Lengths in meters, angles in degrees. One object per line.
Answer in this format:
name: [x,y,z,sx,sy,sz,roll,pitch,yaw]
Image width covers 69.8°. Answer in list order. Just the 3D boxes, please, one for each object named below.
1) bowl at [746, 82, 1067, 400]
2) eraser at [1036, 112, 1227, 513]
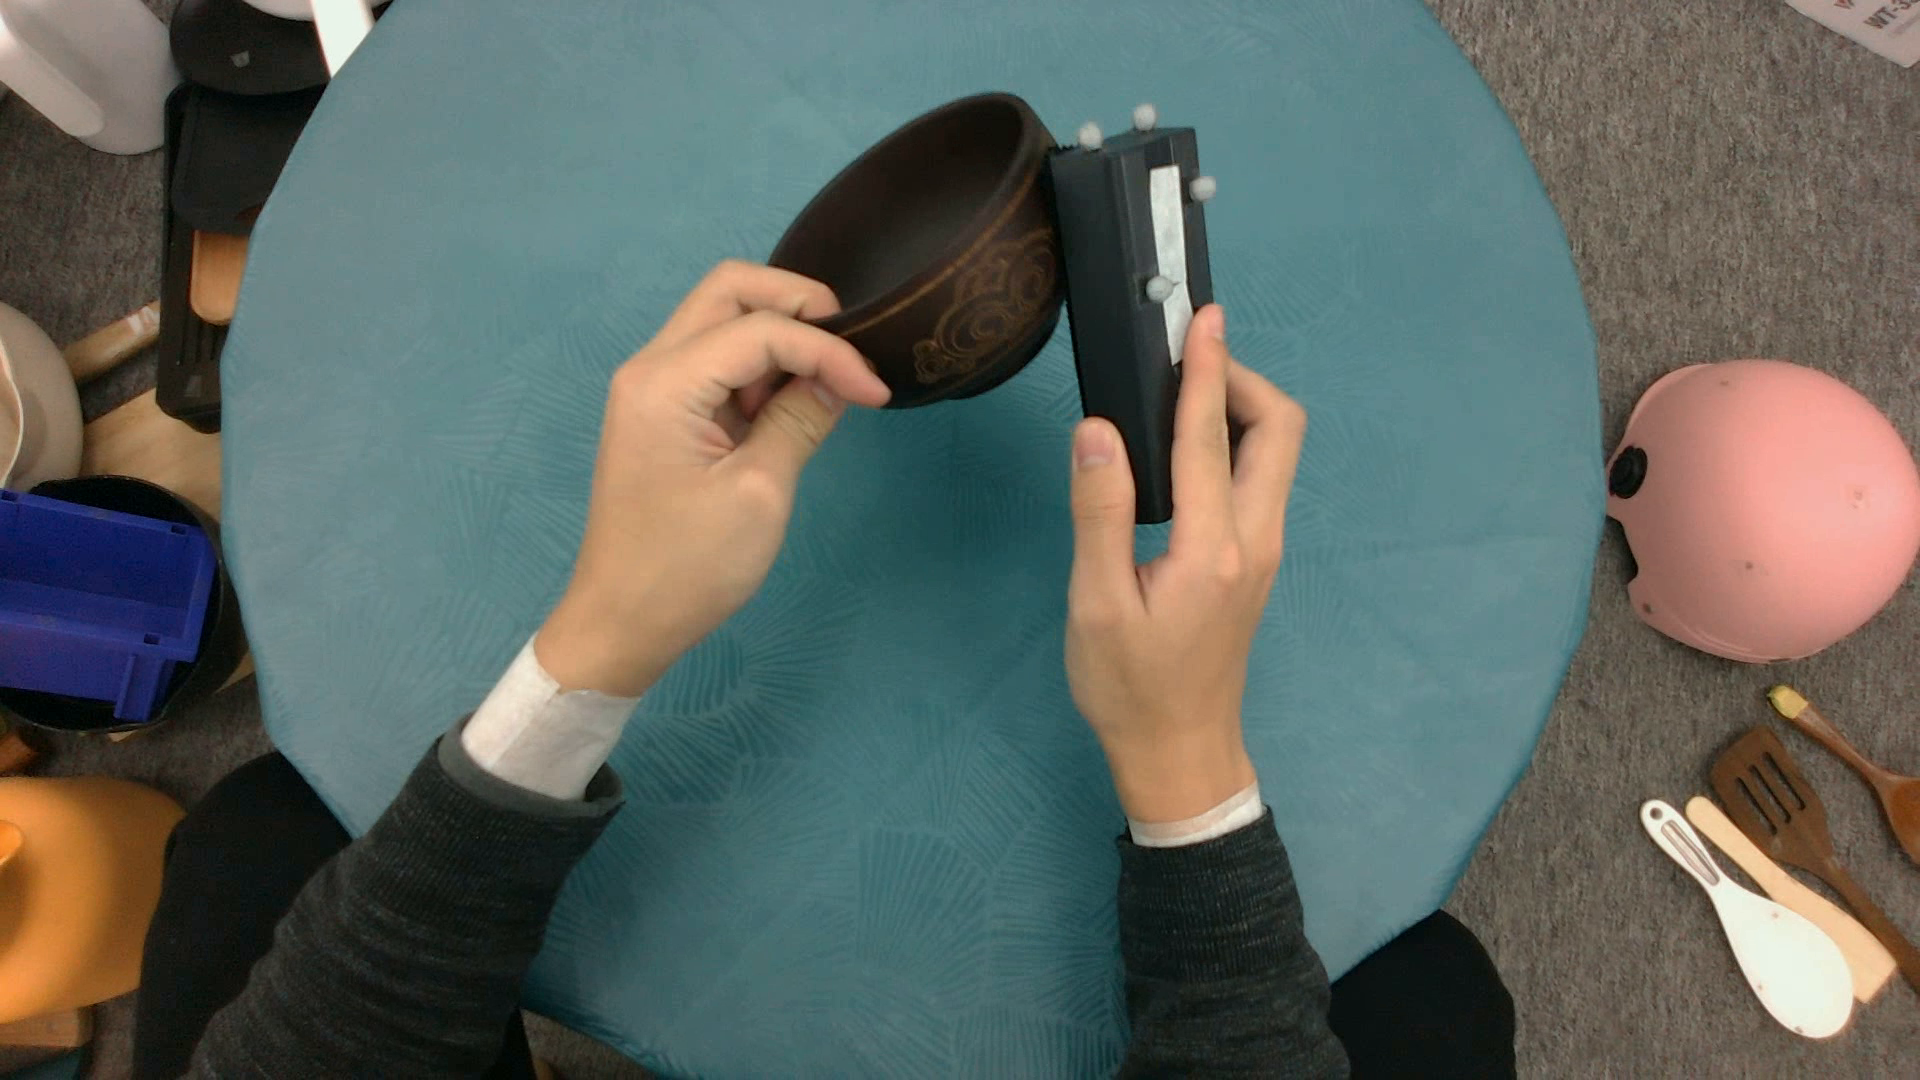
bowl: [-0.010,-0.097,0.488,0.118,0.118,0.070,-48,127,-11]
eraser: [0.060,-0.076,0.466,0.054,0.030,0.125,-30,118,-41]
